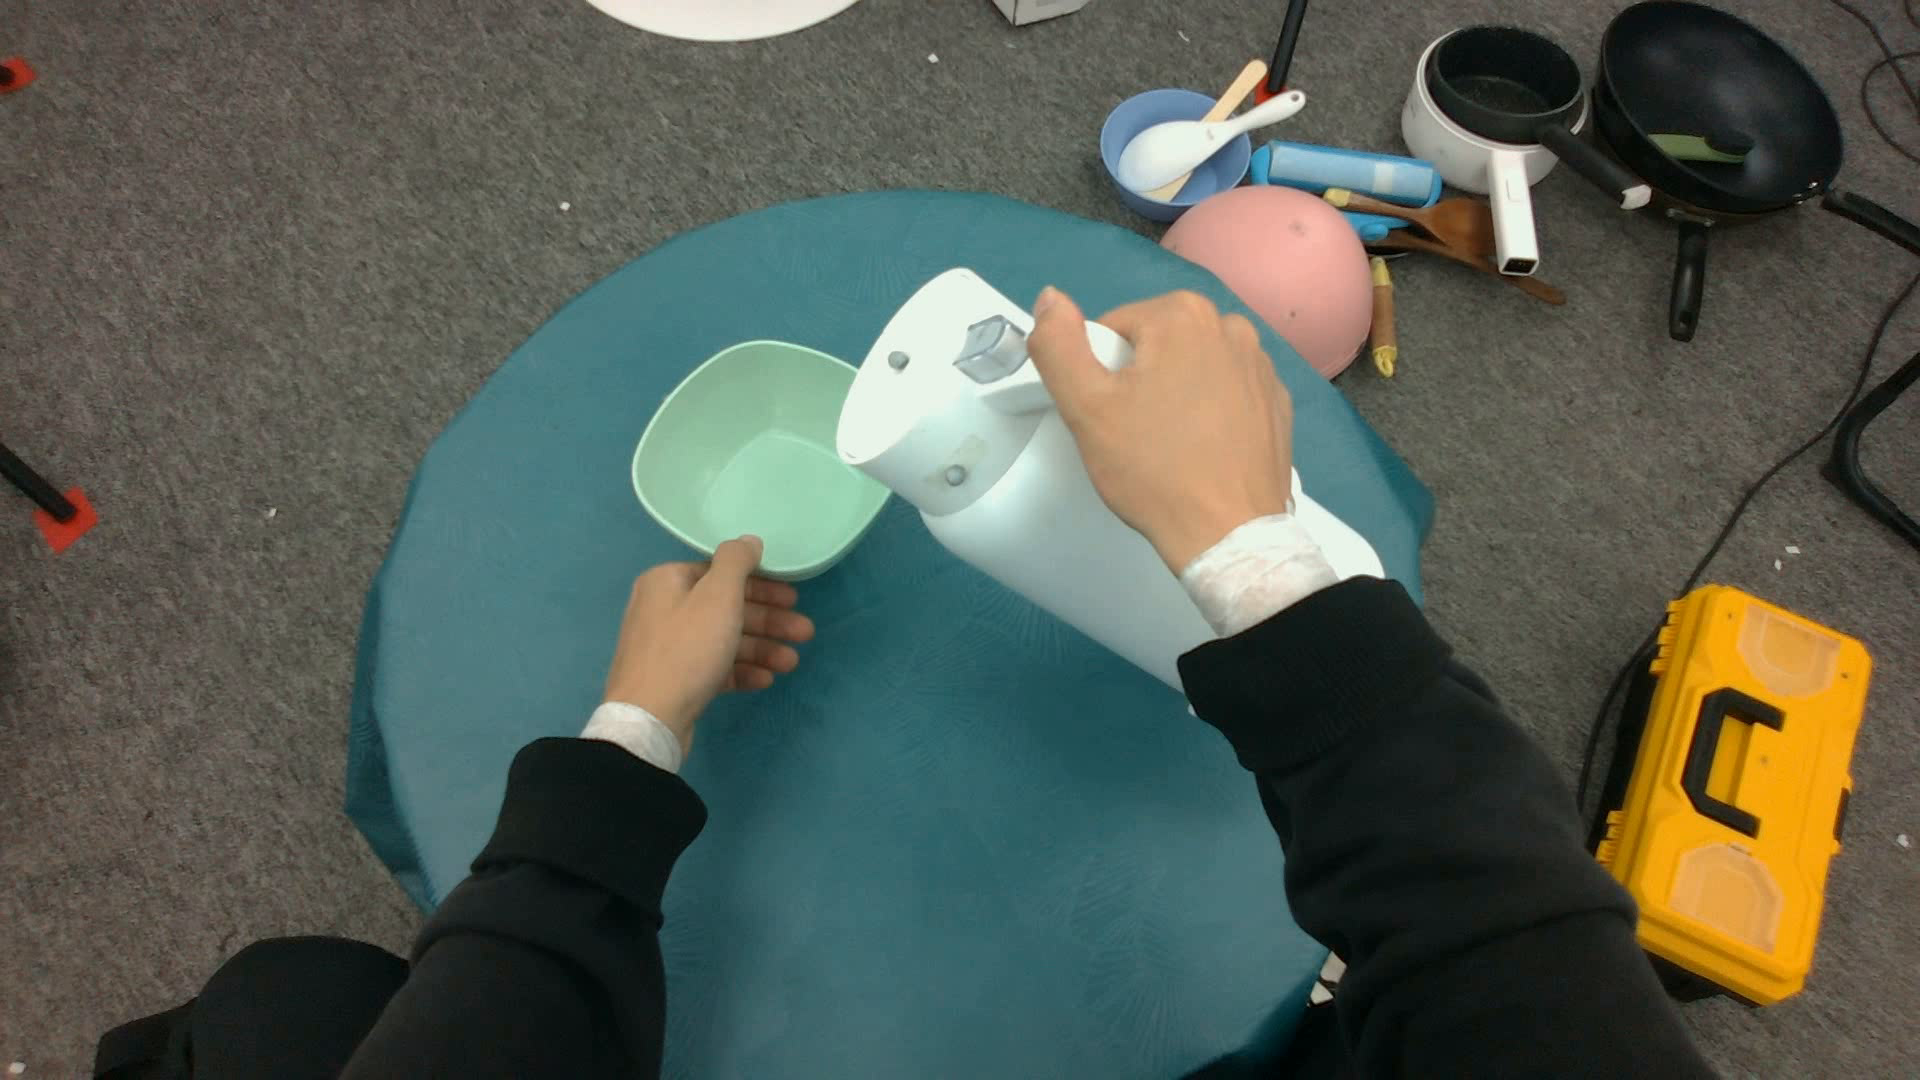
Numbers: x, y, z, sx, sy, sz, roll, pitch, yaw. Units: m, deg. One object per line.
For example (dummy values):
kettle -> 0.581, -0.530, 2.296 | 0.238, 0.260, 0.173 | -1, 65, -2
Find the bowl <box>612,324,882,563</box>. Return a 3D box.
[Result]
bowl -> -0.110, -0.044, 0.759 | 0.151, 0.058, 0.152 | 0, 60, 0

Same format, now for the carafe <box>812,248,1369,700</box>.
carafe -> 0.078, -0.029, 0.643 | 0.269, 0.172, 0.124 | 33, 68, -27
